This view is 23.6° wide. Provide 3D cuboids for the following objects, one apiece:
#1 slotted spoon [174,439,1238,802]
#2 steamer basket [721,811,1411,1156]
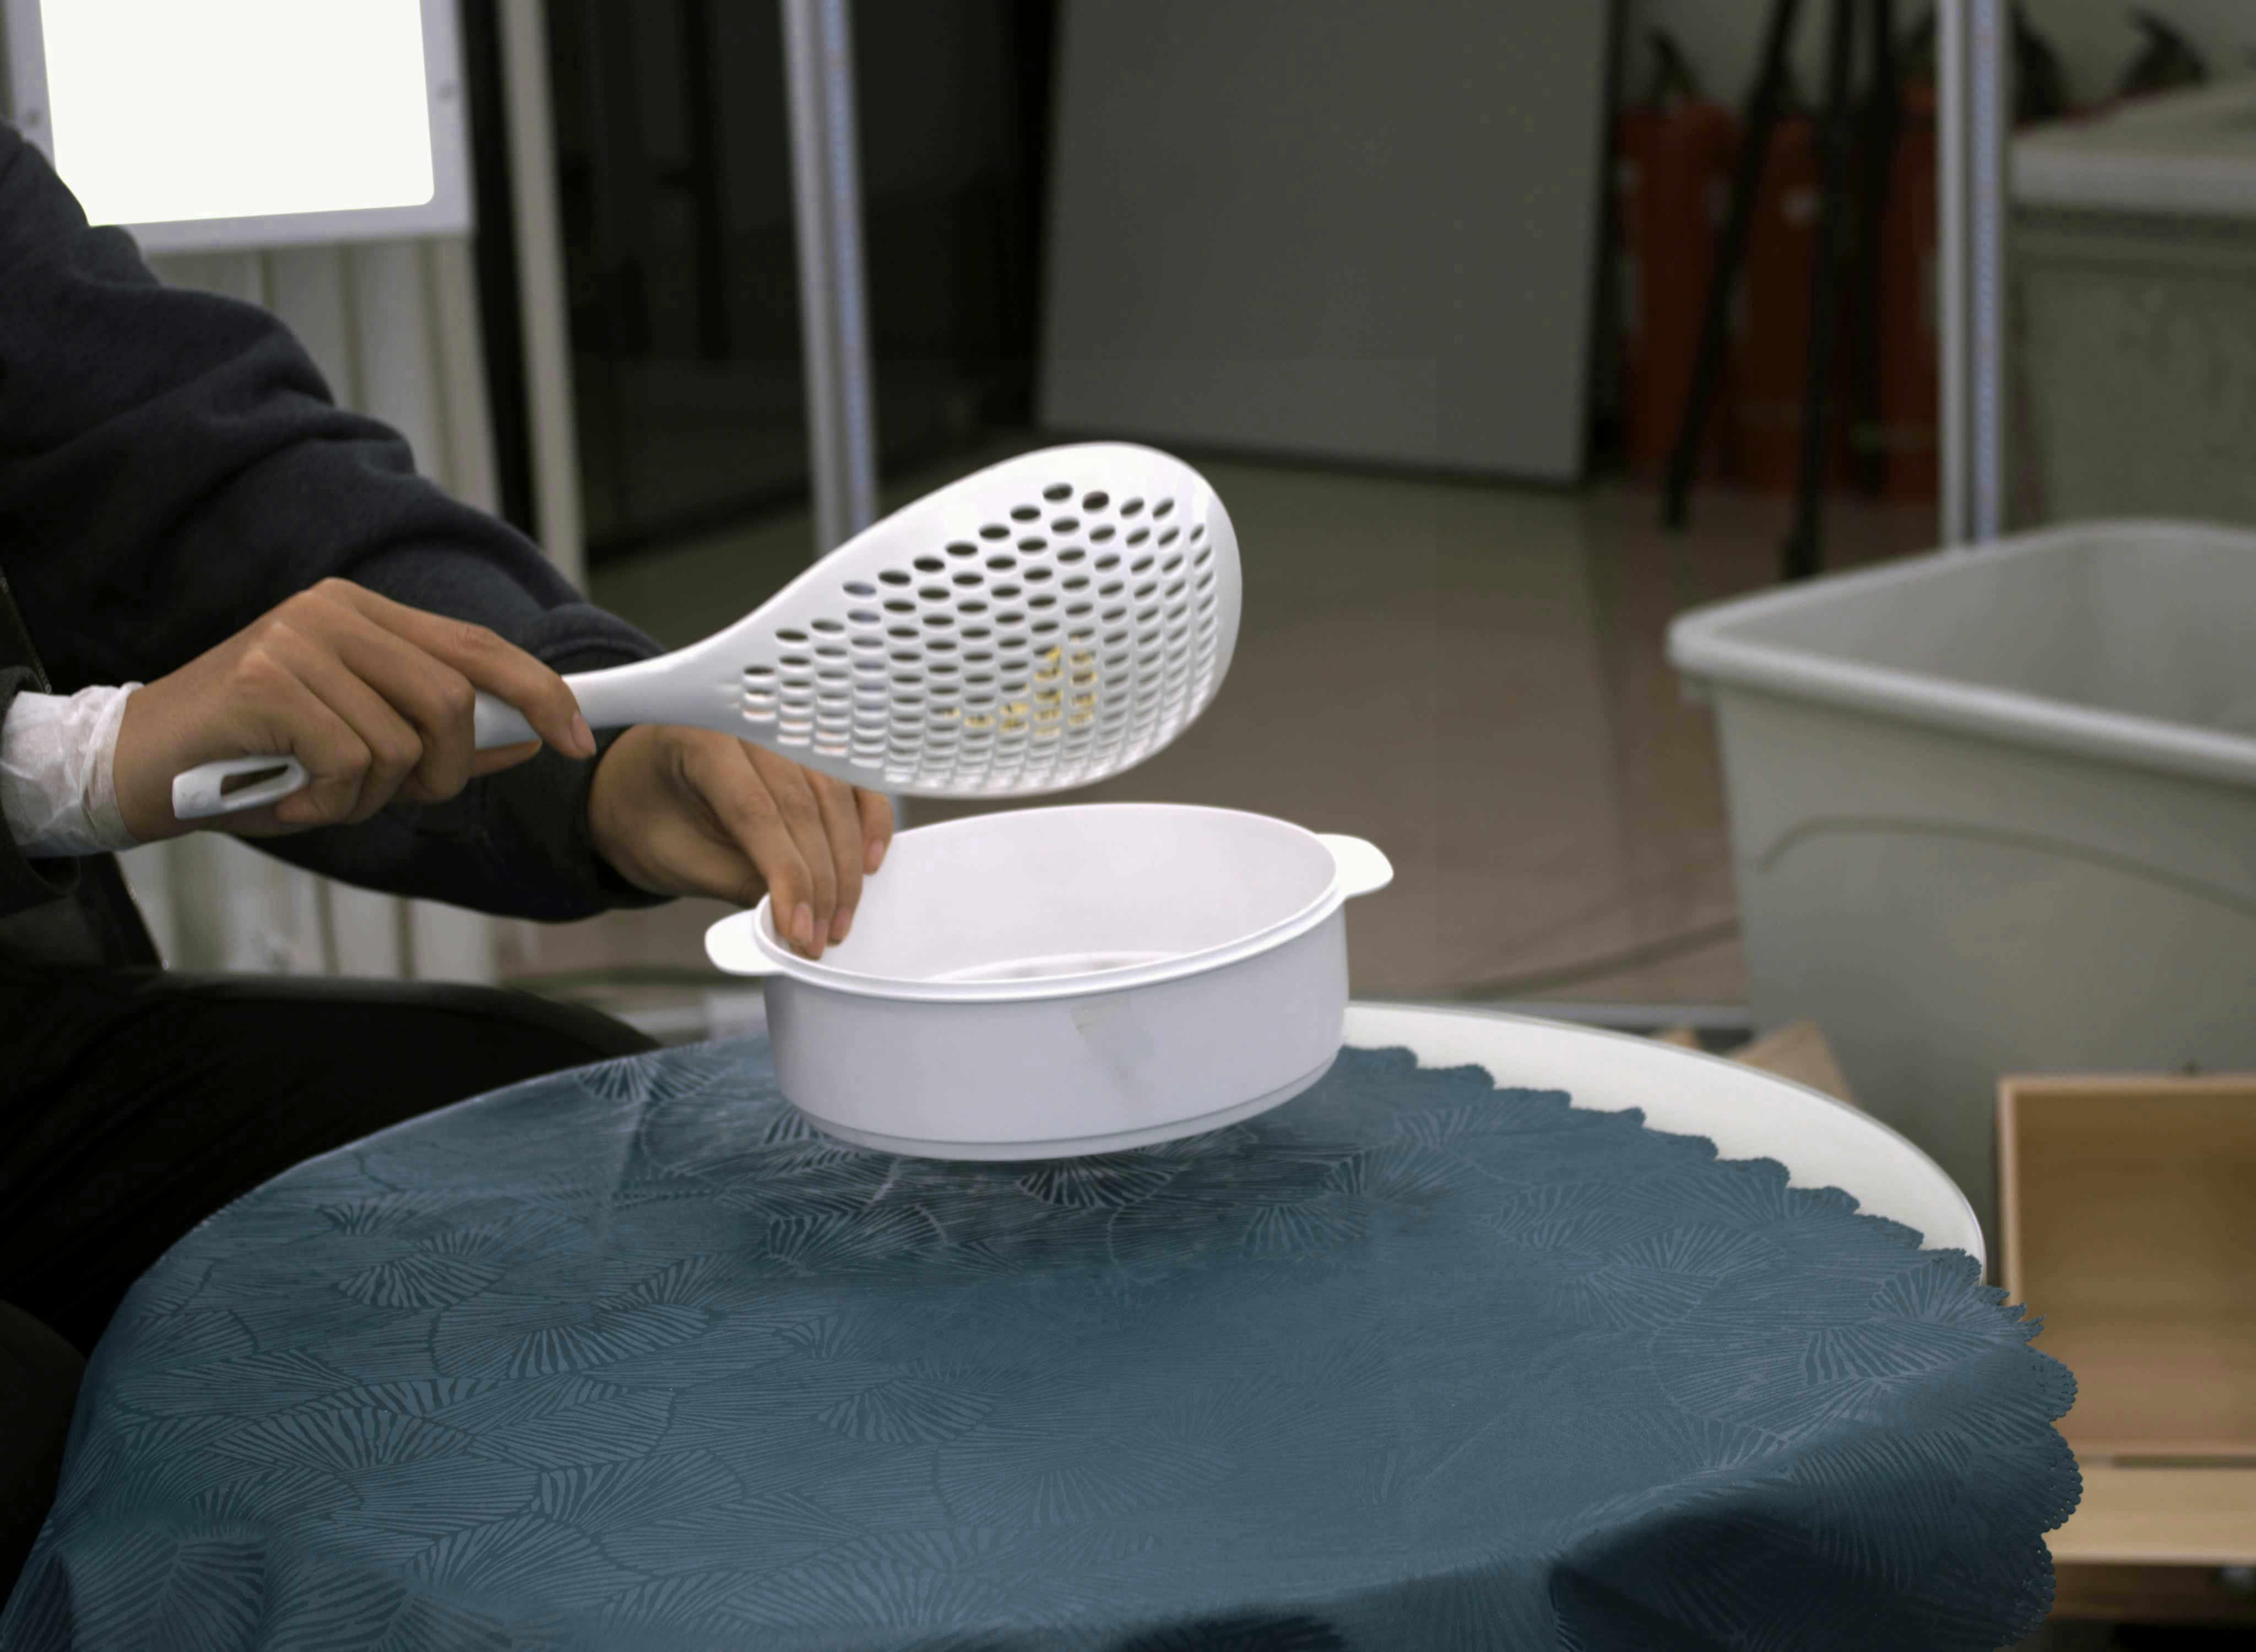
[{"bbox_3d":[-0.125,-0.040,1.675,0.341,0.138,0.051,-7,41,-13],"label":"slotted spoon"},{"bbox_3d":[-0.018,0.052,1.781,0.227,0.070,0.203,-6,14,-7],"label":"steamer basket"}]
